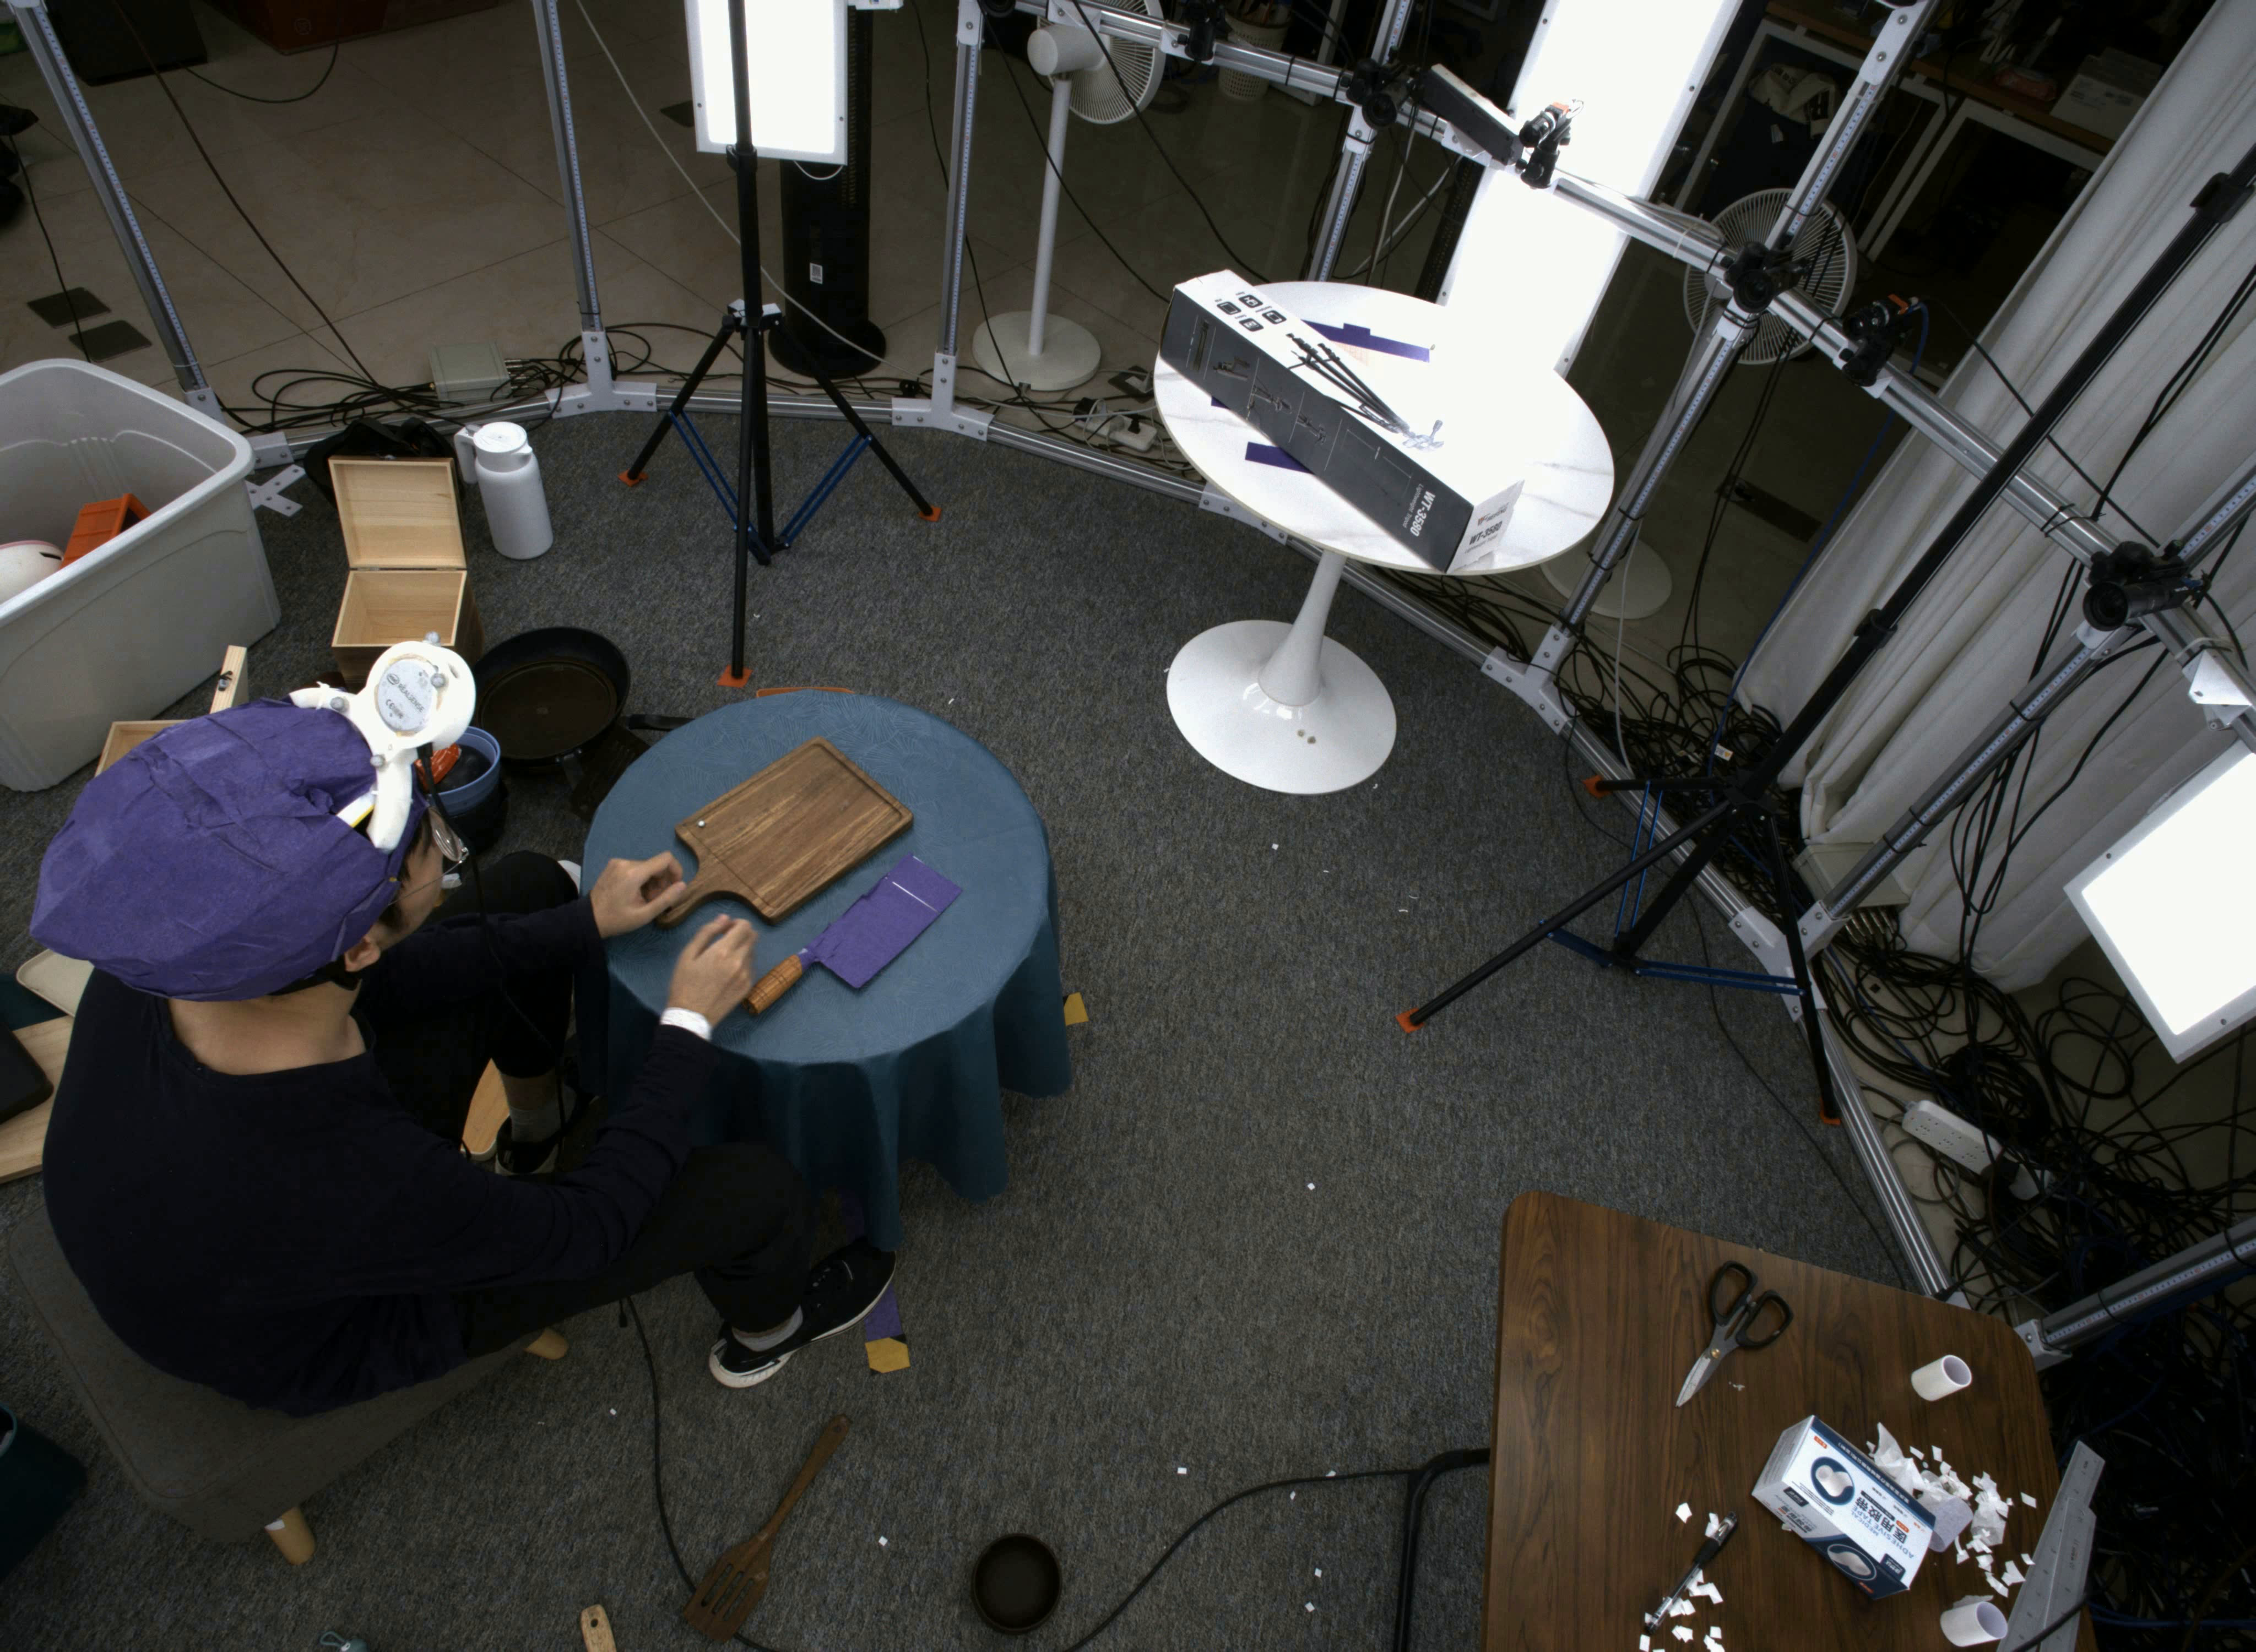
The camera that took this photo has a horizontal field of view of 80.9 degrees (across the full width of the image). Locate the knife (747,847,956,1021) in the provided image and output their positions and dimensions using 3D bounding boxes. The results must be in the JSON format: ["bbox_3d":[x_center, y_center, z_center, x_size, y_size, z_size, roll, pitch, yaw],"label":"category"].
[{"bbox_3d":[-0.338,0.142,1.635,0.102,0.033,0.314,33,53,12],"label":"knife"}]

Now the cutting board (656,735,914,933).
[{"bbox_3d":[-0.470,0.025,1.692,0.197,0.023,0.352,39,55,15],"label":"cutting board"}]
